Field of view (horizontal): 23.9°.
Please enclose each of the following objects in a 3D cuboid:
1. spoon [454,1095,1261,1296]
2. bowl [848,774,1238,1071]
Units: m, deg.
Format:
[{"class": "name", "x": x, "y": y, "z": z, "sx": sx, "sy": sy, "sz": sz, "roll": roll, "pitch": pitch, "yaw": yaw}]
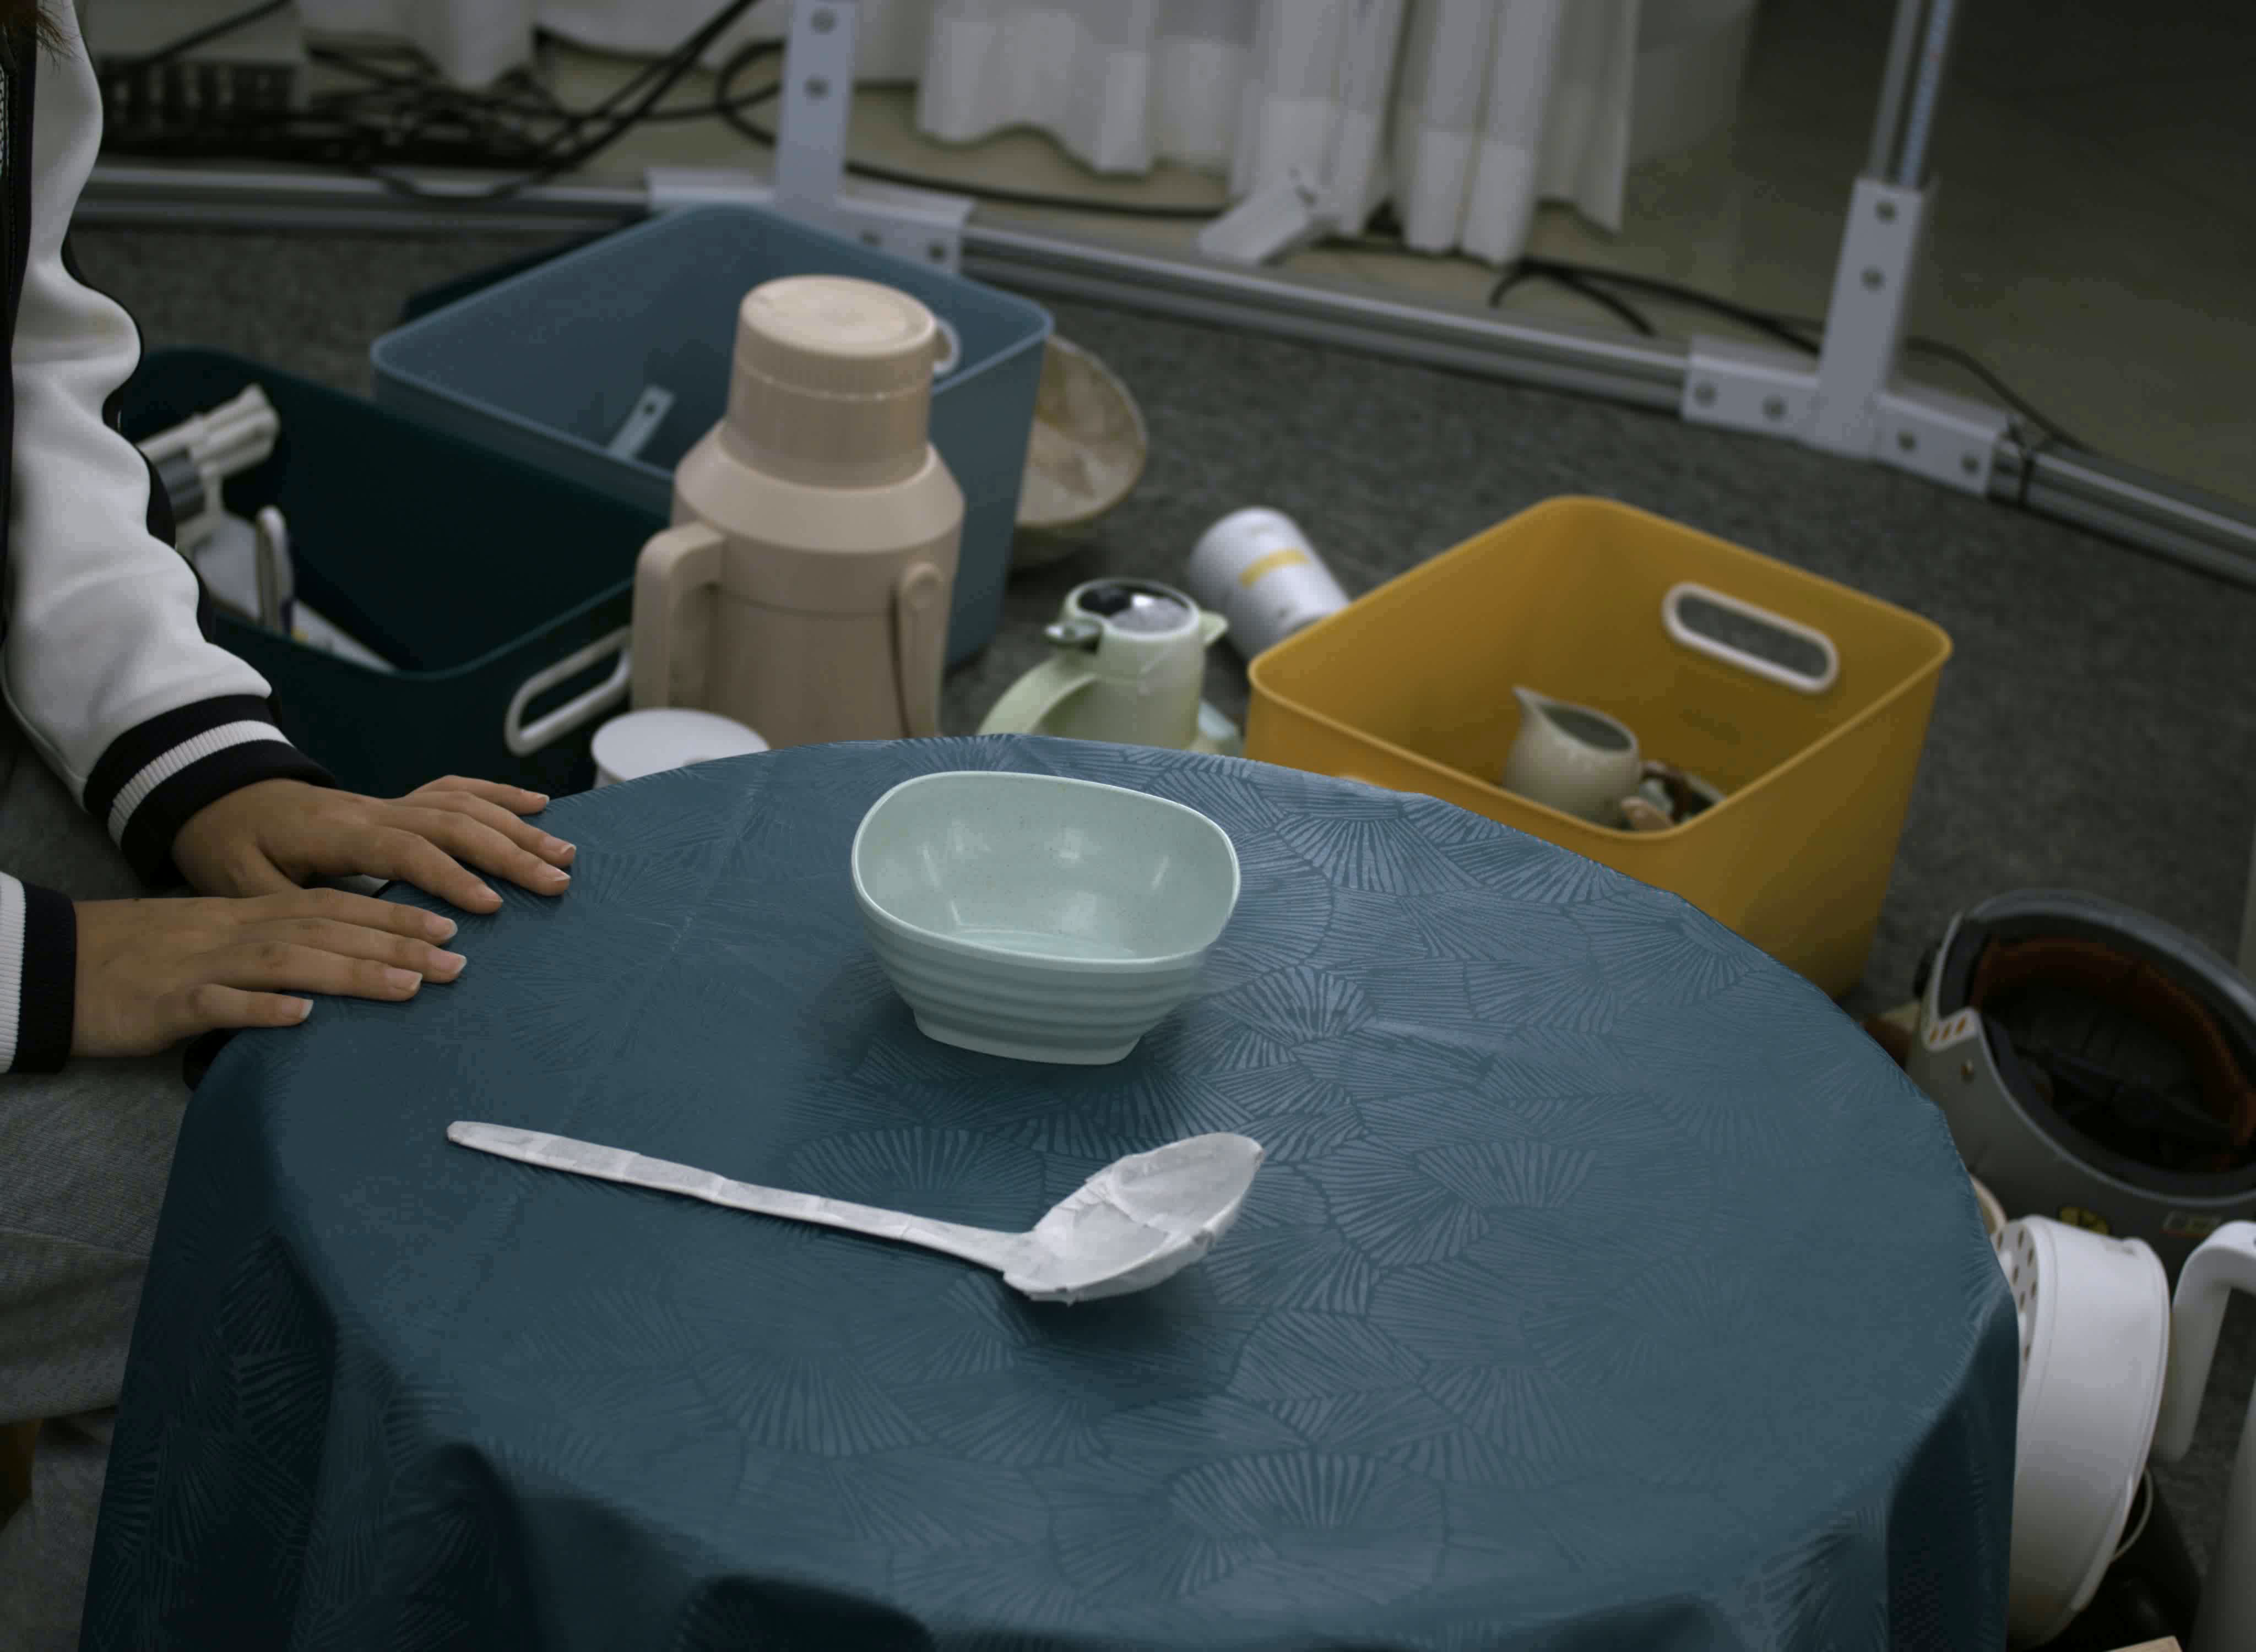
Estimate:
[{"class": "spoon", "x": -0.092, "y": 0.102, "z": 1.760, "sx": 0.278, "sy": 0.059, "sz": 0.101, "roll": 14, "pitch": 23, "yaw": 14}, {"class": "bowl", "x": -0.033, "y": 0.040, "z": 1.900, "sx": 0.151, "sy": 0.058, "sz": 0.152, "roll": 5, "pitch": 27, "yaw": -3}]
